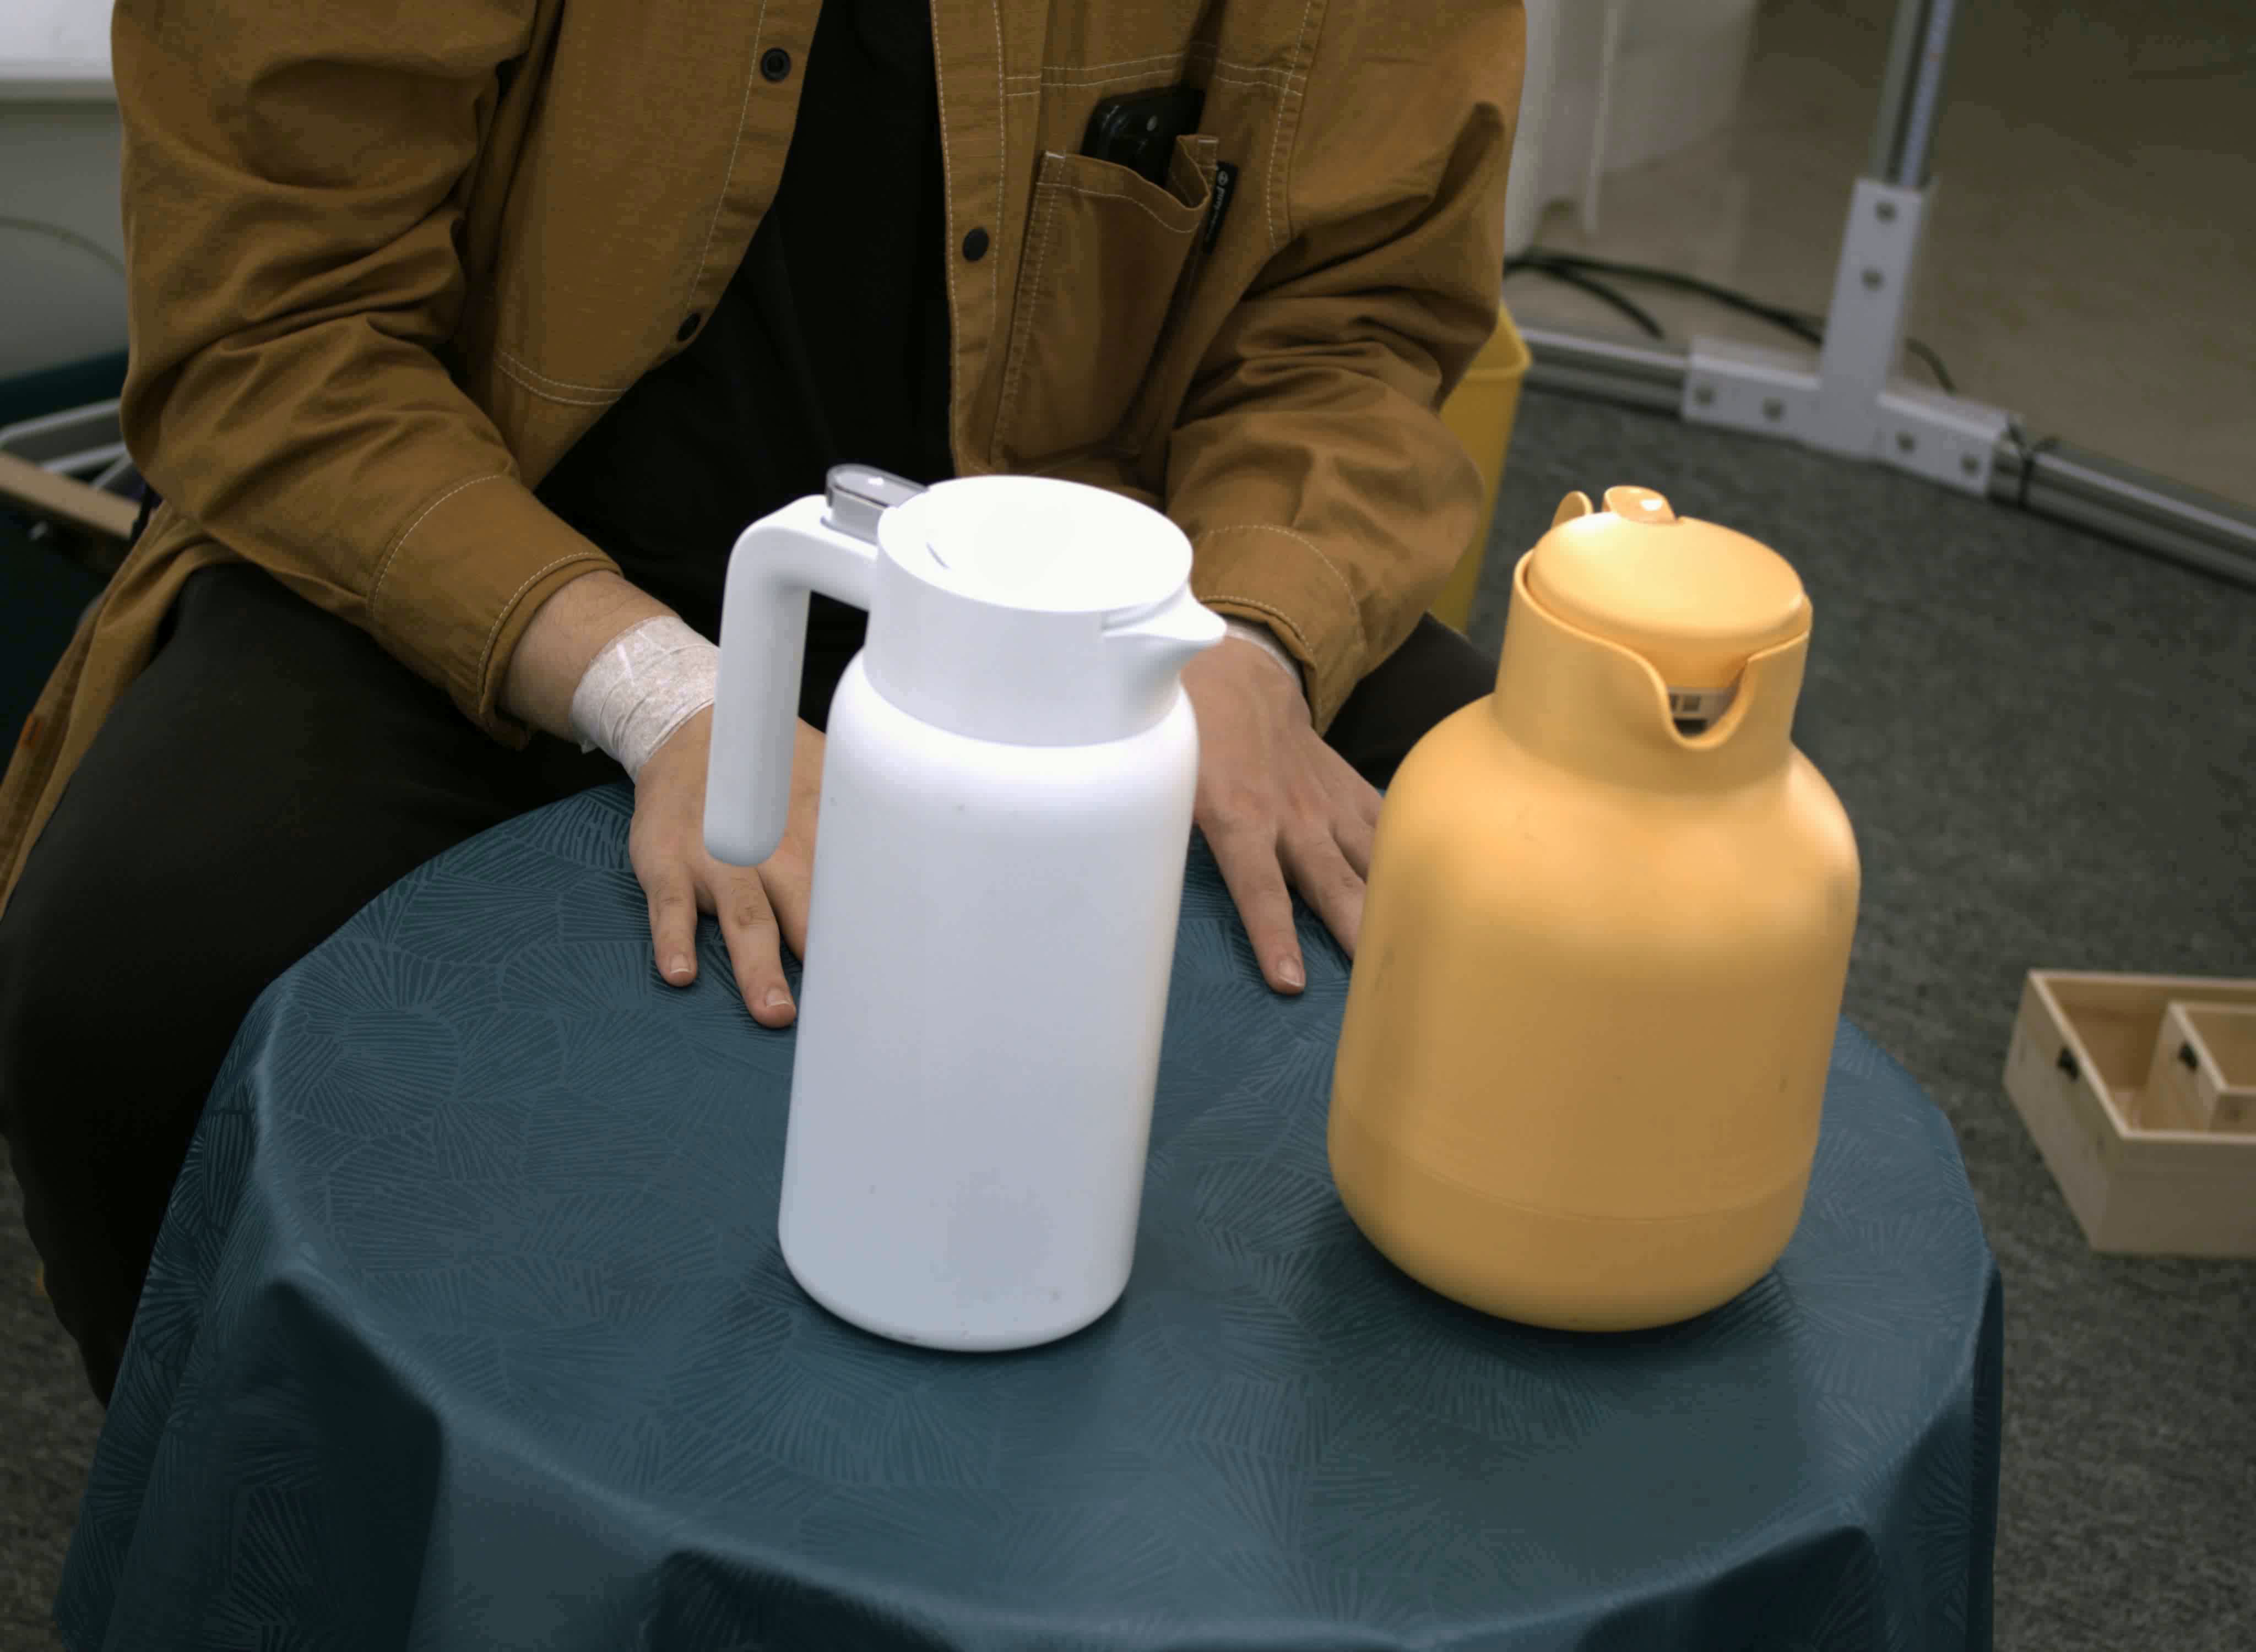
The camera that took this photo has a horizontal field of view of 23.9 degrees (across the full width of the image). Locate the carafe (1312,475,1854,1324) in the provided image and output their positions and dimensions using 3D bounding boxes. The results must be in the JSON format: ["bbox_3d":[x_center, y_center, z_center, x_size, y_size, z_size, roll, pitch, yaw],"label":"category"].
[{"bbox_3d":[0.156,0.015,1.764,0.163,0.259,0.204,7,28,-7],"label":"carafe"}]

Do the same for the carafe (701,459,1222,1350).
[{"bbox_3d":[-0.059,0.022,1.697,0.173,0.268,0.123,20,31,25],"label":"carafe"}]
